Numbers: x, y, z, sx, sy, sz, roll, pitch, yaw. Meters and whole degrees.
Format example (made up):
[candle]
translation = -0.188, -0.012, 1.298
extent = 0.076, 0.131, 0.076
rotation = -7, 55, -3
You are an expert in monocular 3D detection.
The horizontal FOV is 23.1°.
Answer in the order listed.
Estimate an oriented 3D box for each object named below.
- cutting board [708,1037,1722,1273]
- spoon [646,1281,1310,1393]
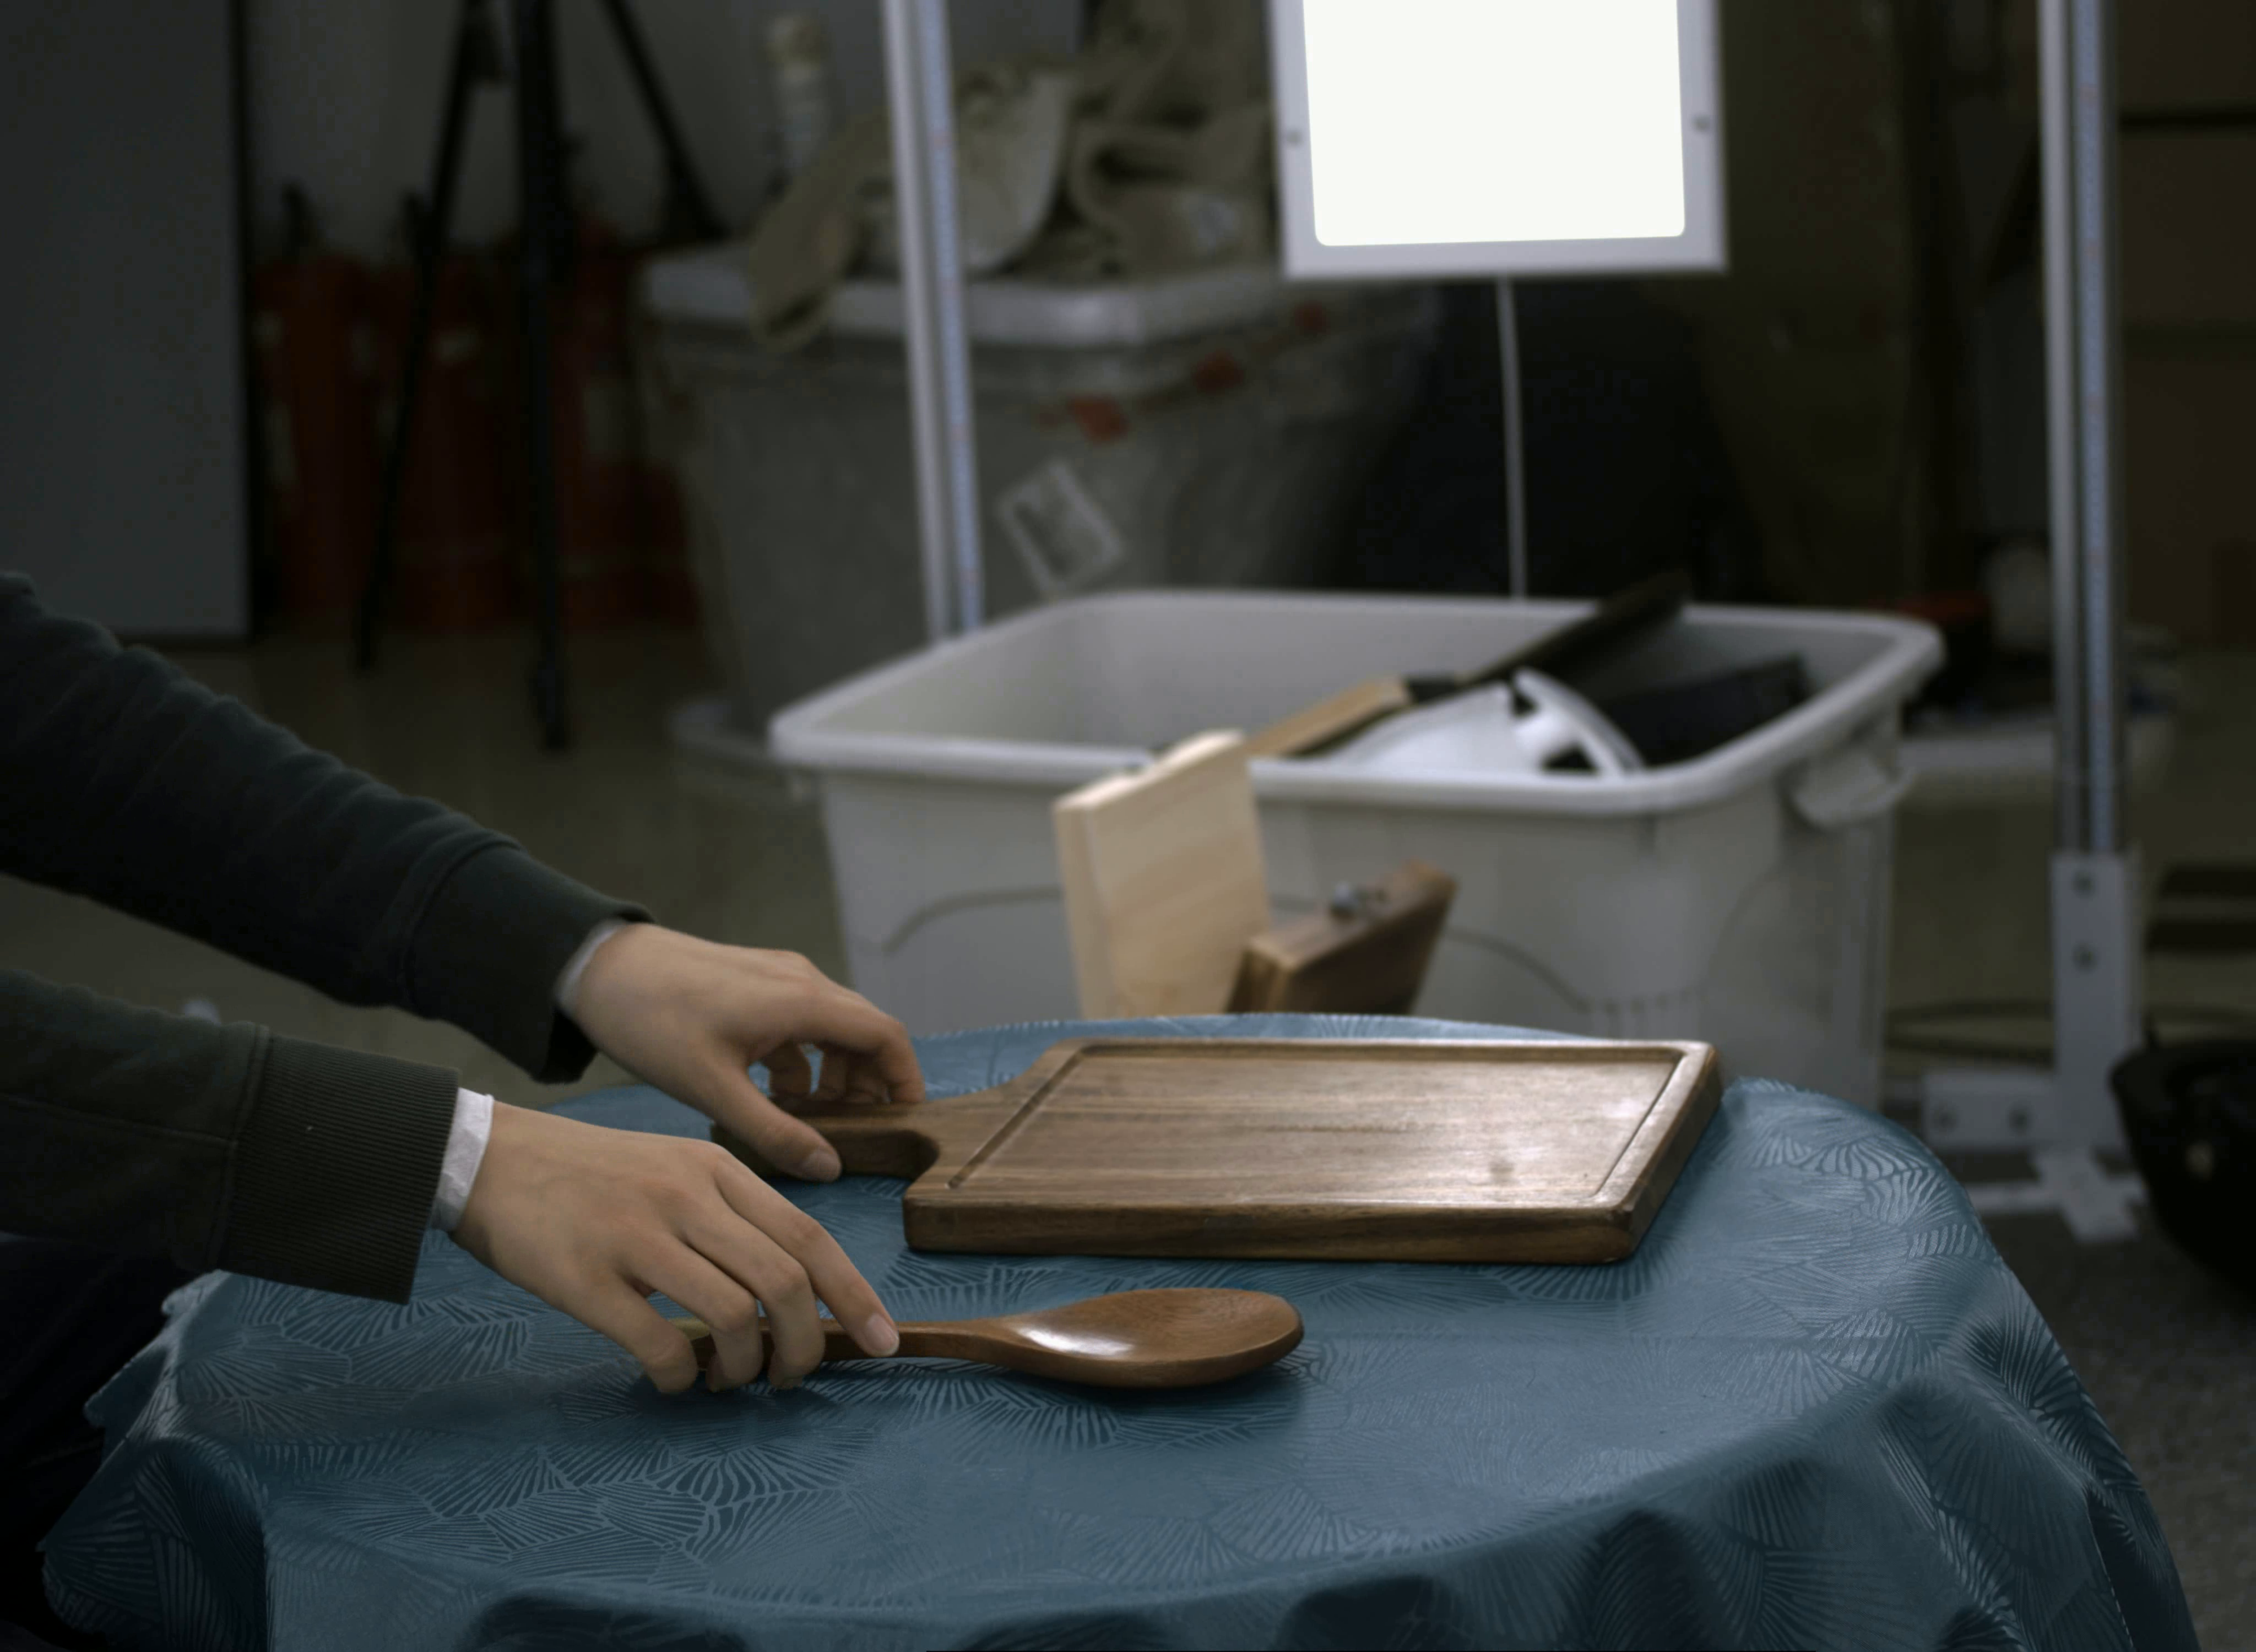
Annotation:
[cutting board]
translation = 0.021, 0.111, 1.916
extent = 0.356, 0.023, 0.198
rotation = -1, 15, 18
[spoon]
translation = -0.048, 0.162, 1.734
extent = 0.218, 0.017, 0.074
rotation = 0, 16, 16
